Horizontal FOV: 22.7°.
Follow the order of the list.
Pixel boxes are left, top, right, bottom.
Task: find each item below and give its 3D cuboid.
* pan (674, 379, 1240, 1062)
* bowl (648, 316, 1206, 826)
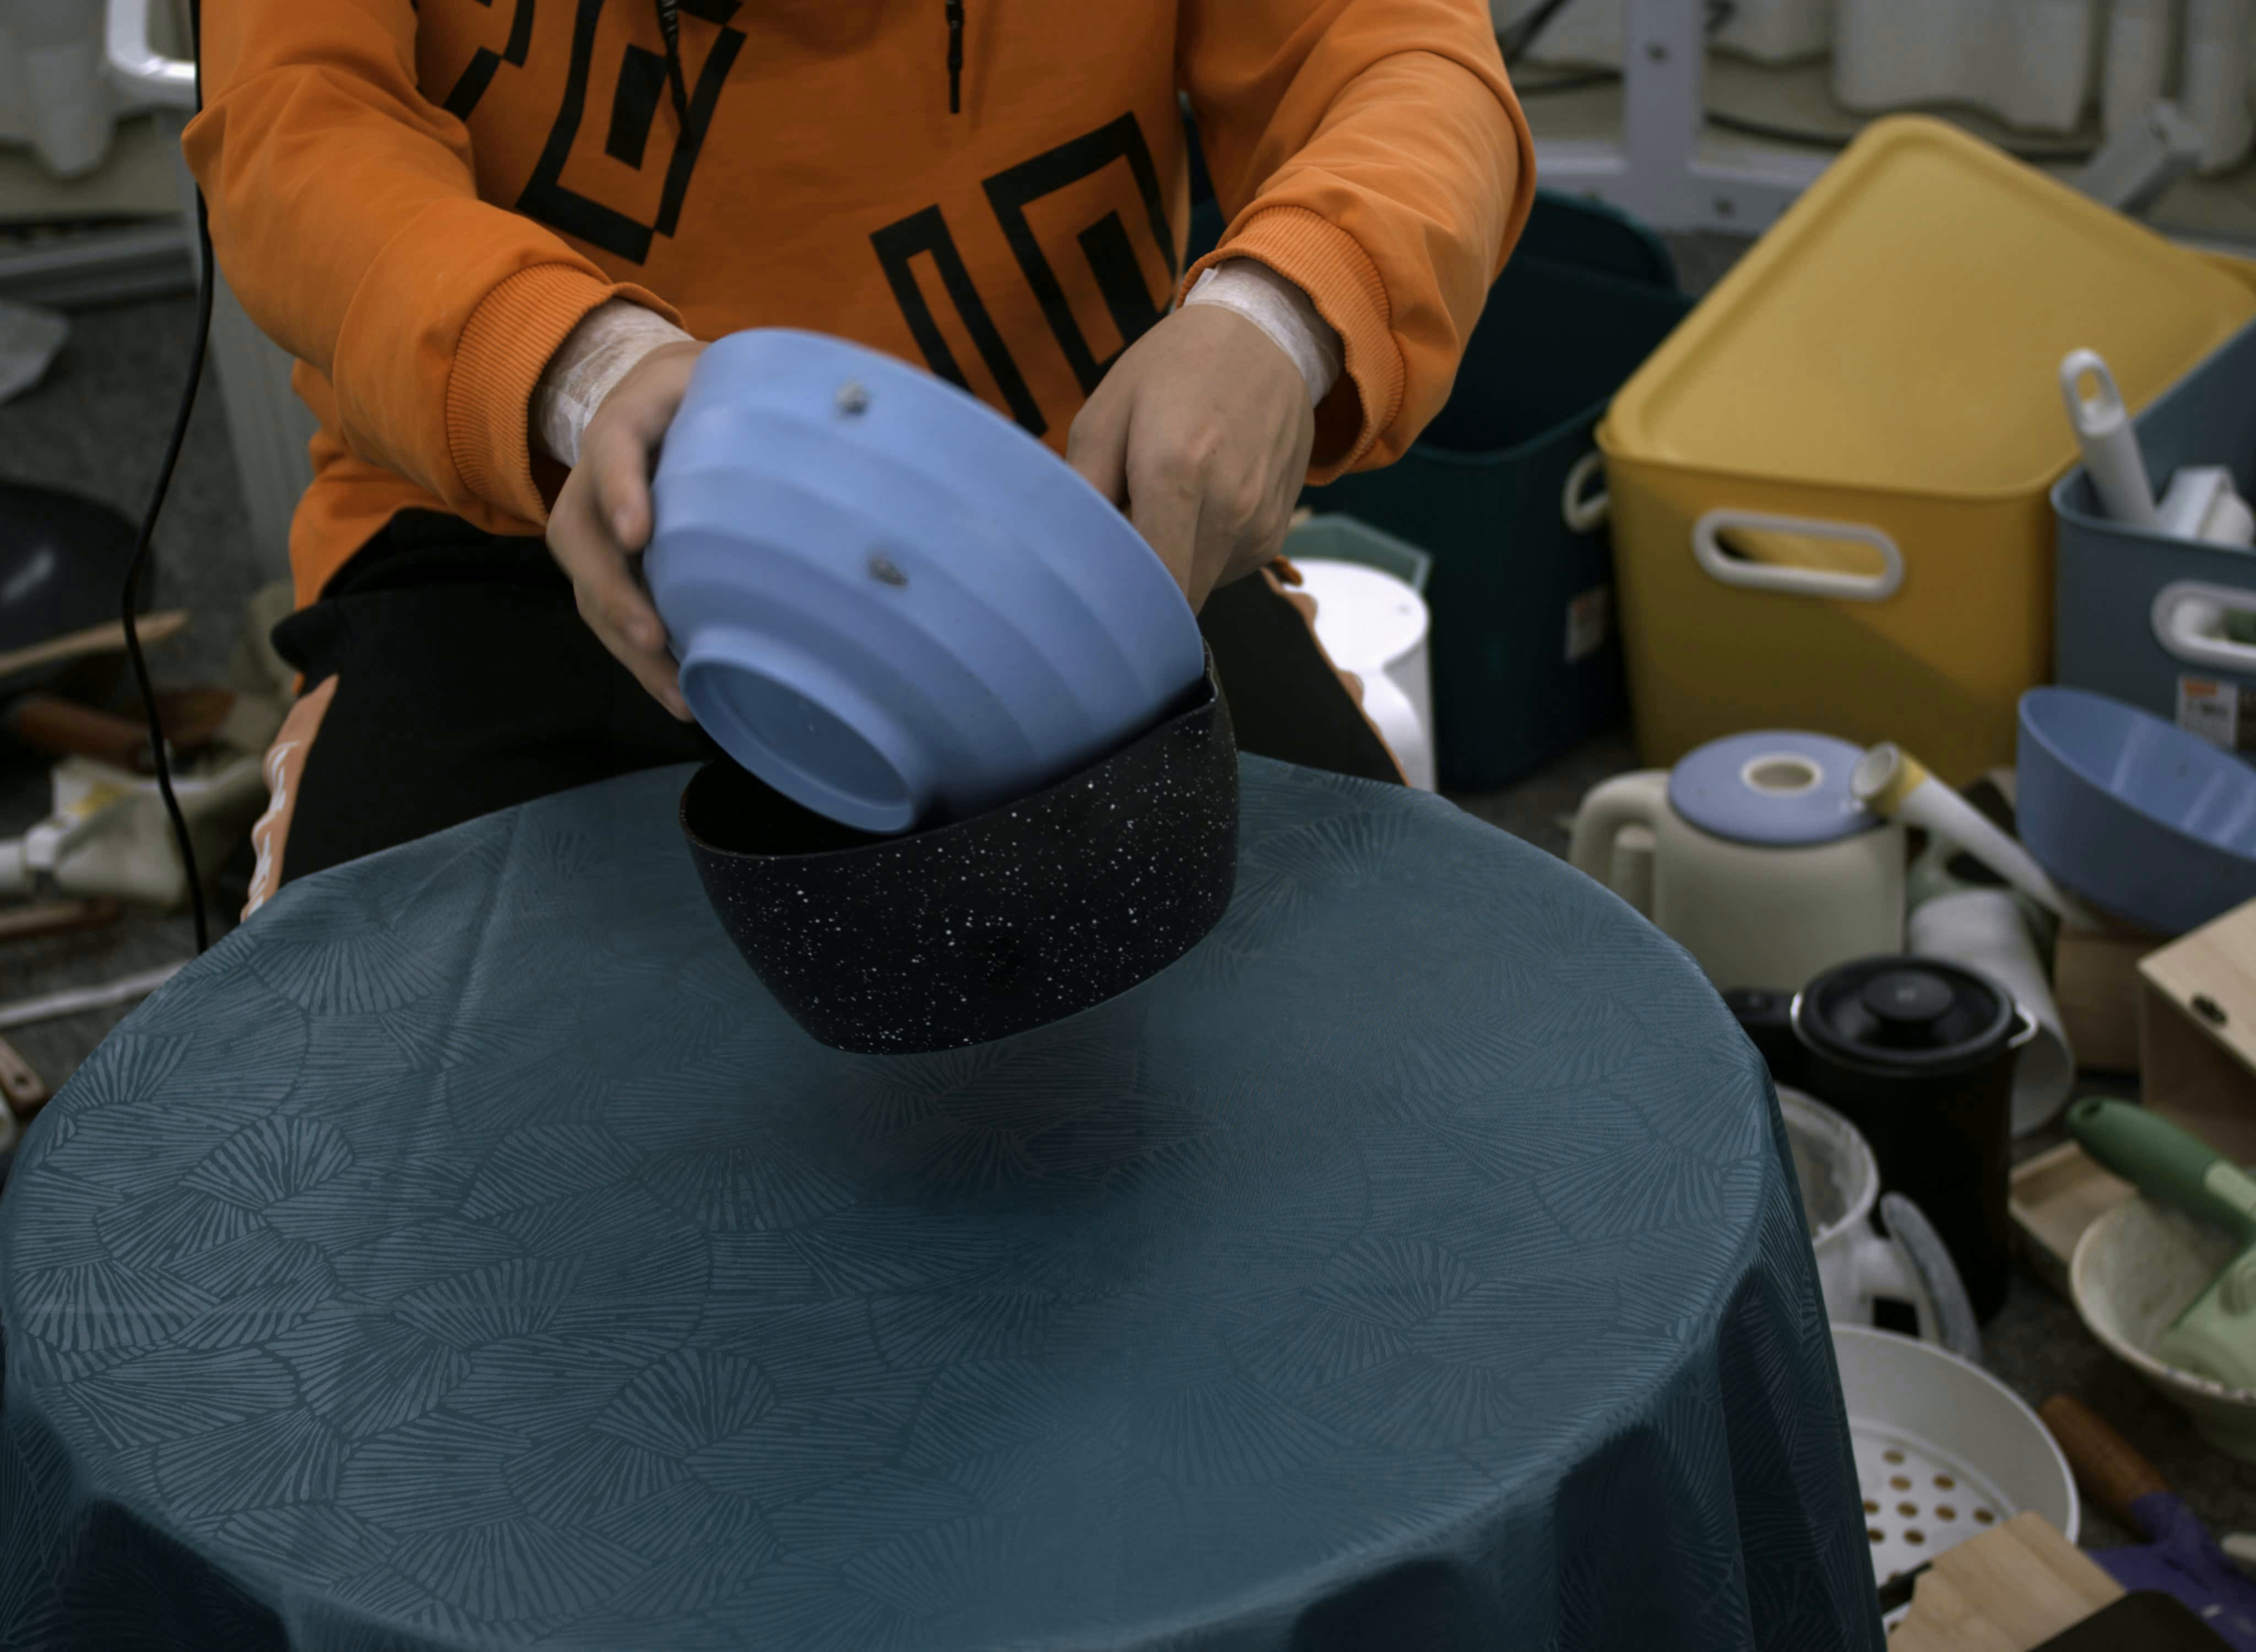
[{"bbox_3d":[-0.025,-0.039,1.925,0.205,0.107,0.349,-9,23,26],"label":"pan"},{"bbox_3d":[-0.082,-0.064,1.824,0.196,0.194,0.097,18,61,35],"label":"bowl"}]
